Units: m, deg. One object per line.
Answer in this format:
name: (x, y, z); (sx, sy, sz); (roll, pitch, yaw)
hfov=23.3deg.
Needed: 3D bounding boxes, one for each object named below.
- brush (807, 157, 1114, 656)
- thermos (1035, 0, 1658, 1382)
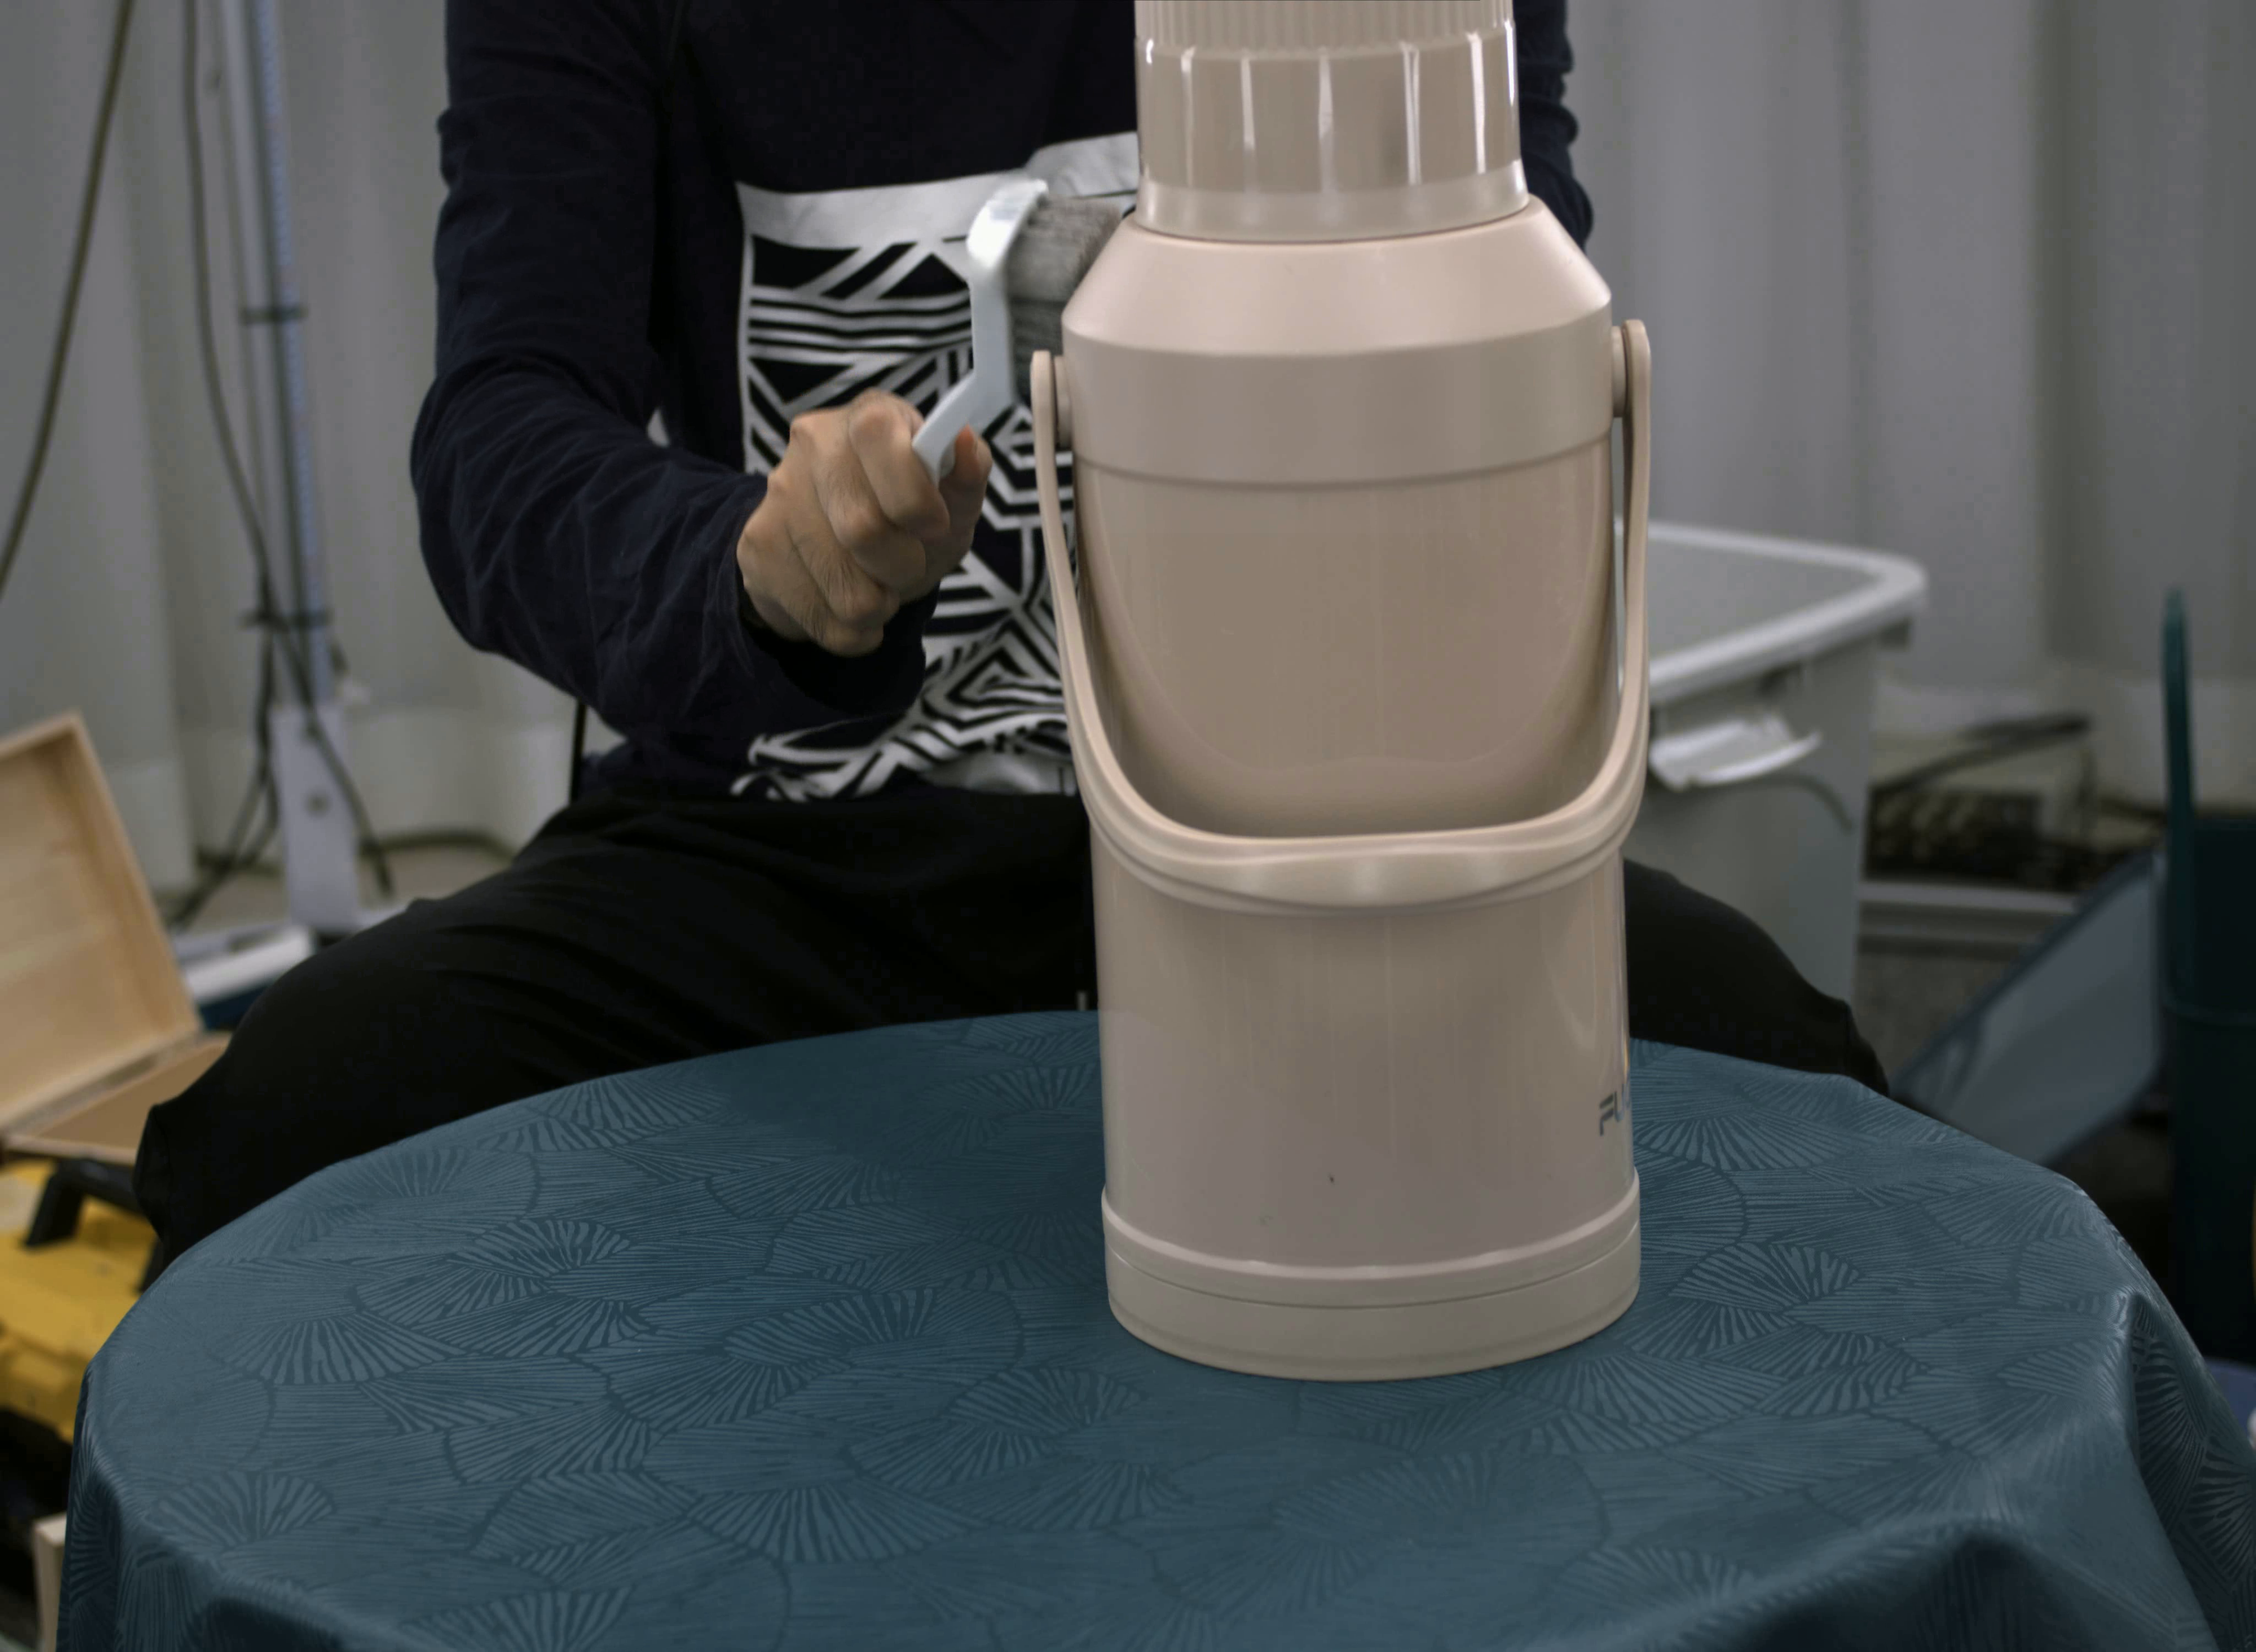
brush: (-0.049, -0.116, 1.663); (0.050, 0.241, 0.035); (26, 53, 0)
thermos: (0.066, -0.058, 1.586); (0.175, 0.405, 0.208); (-5, 14, -2)
